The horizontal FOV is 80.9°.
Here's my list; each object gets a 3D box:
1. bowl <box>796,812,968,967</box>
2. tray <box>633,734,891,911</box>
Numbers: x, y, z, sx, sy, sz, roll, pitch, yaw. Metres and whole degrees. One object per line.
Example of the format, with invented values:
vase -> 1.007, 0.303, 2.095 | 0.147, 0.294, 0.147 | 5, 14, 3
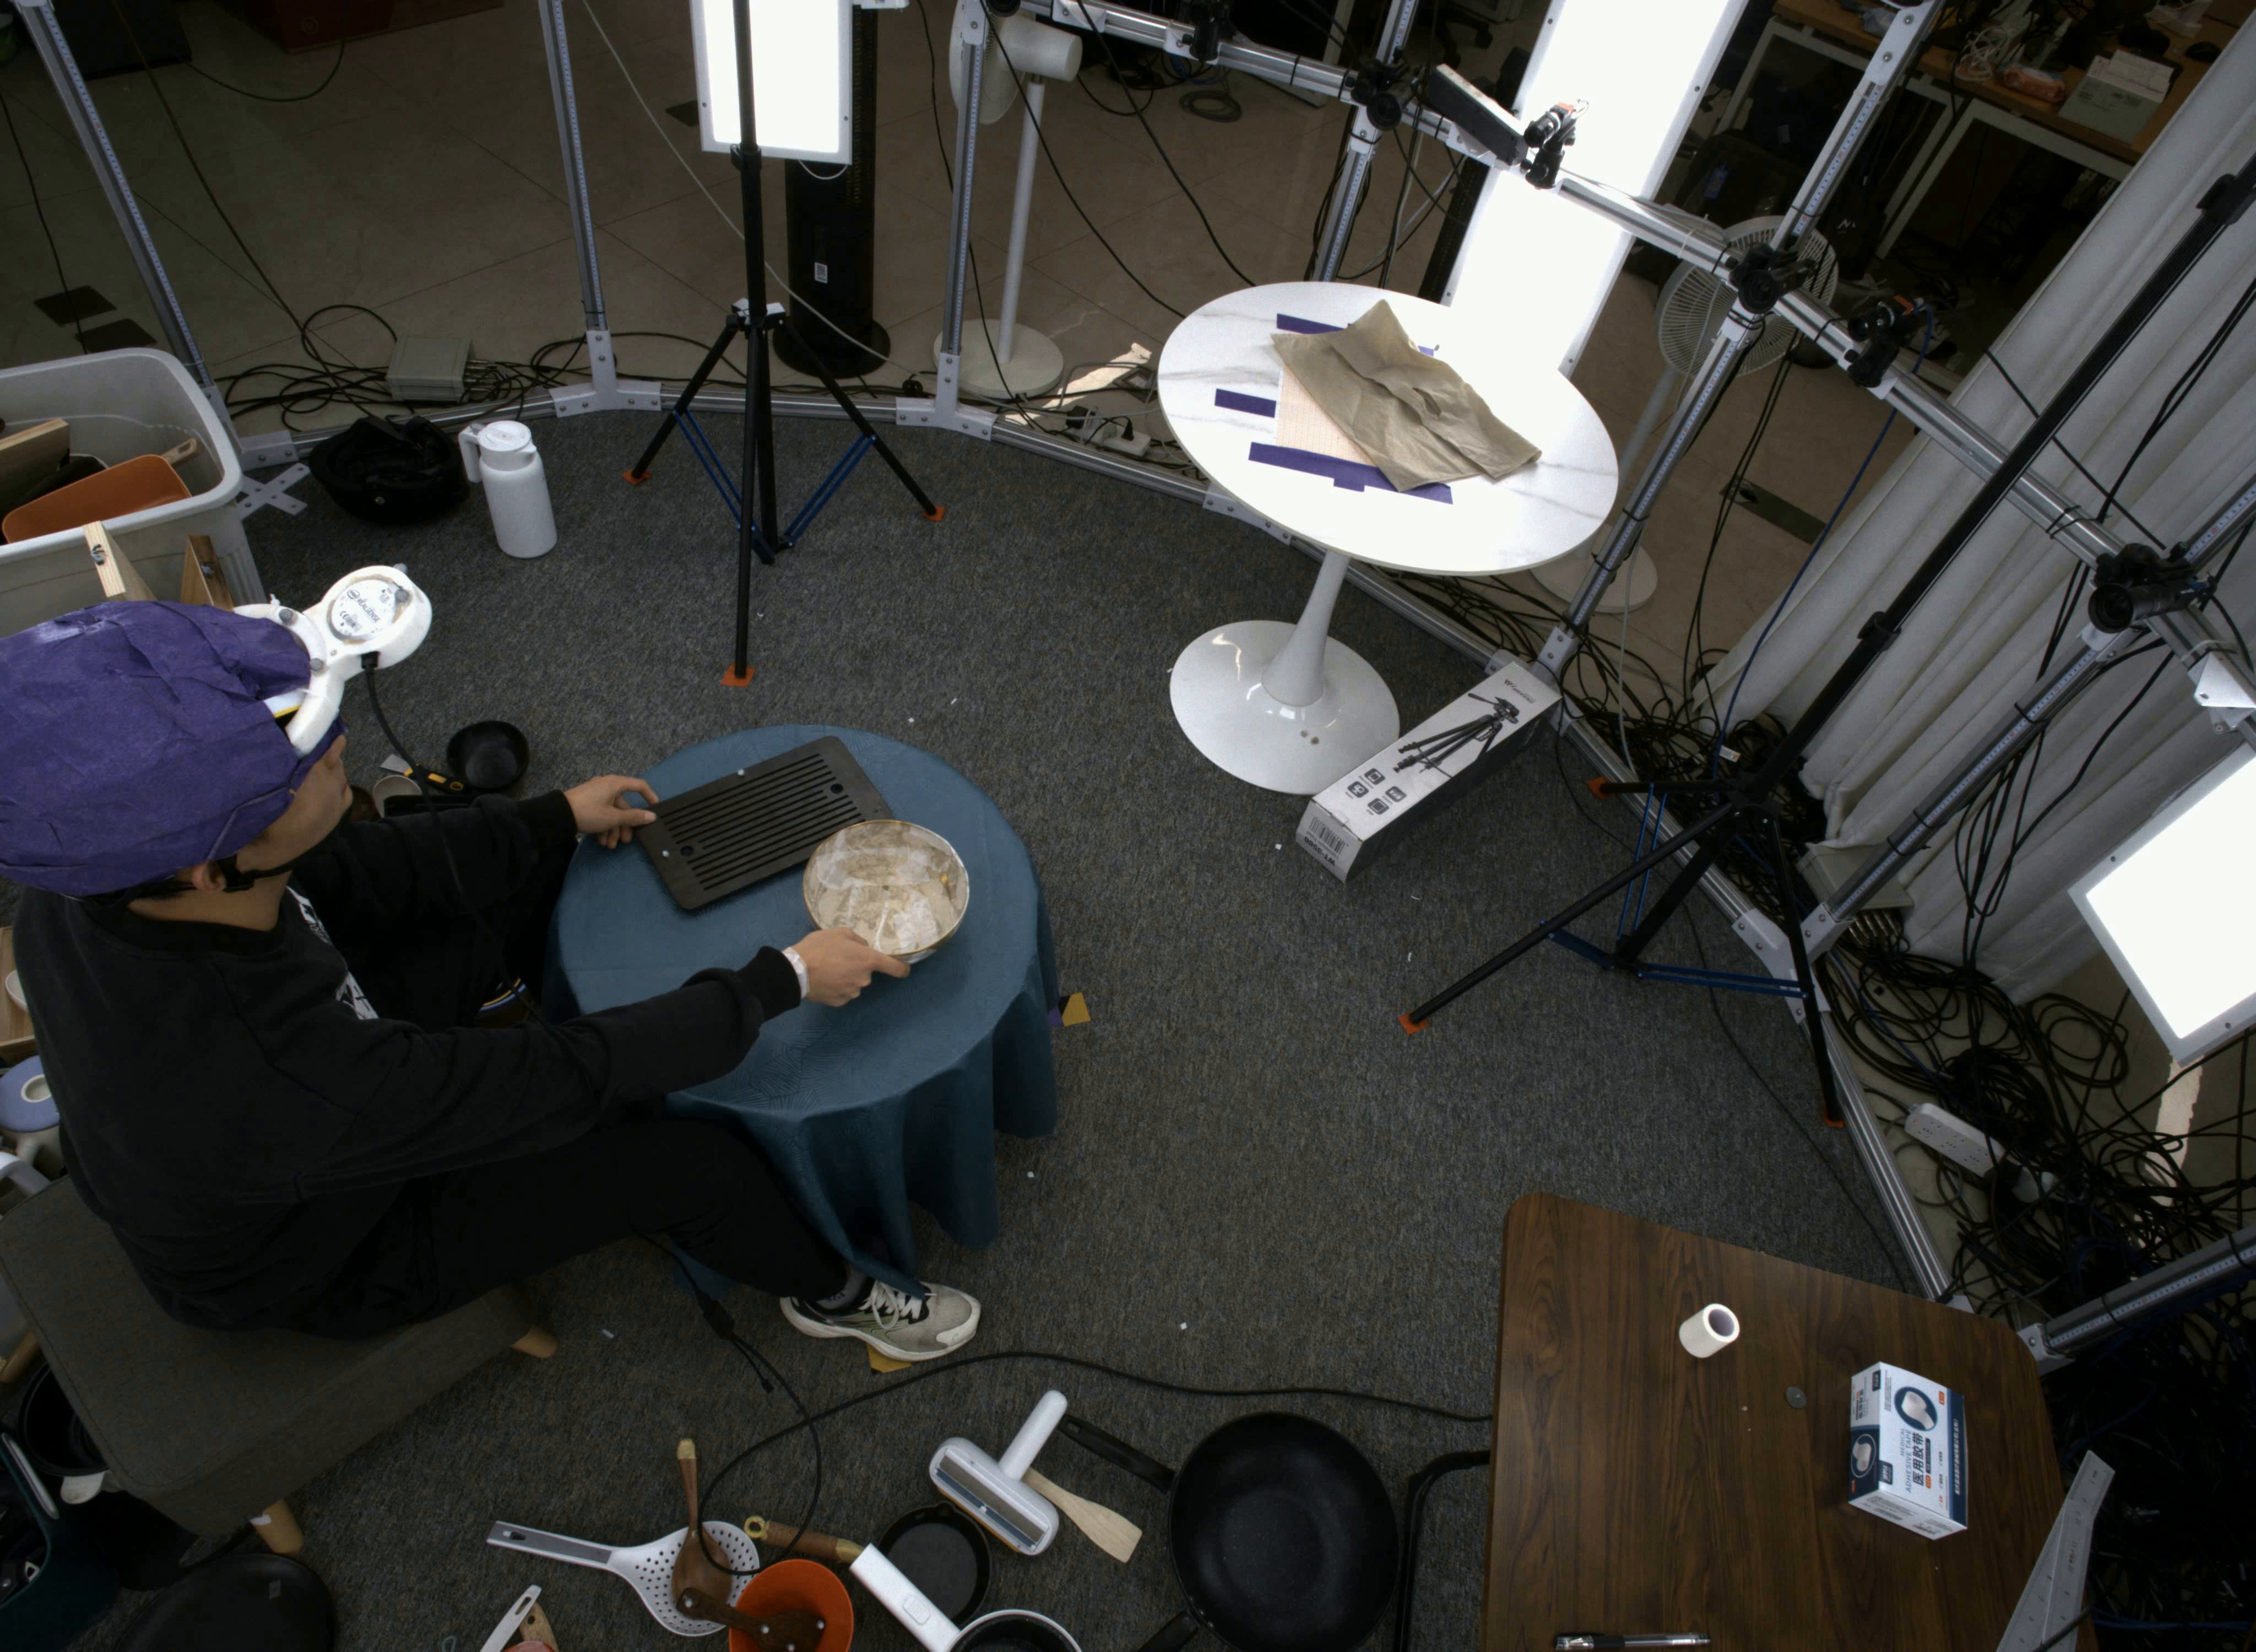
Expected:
bowl -> -0.309, 0.095, 1.627 | 0.215, 0.096, 0.211 | 9, 55, -11
tray -> -0.481, -0.009, 1.708 | 0.307, 0.019, 0.166 | -26, 66, -29
